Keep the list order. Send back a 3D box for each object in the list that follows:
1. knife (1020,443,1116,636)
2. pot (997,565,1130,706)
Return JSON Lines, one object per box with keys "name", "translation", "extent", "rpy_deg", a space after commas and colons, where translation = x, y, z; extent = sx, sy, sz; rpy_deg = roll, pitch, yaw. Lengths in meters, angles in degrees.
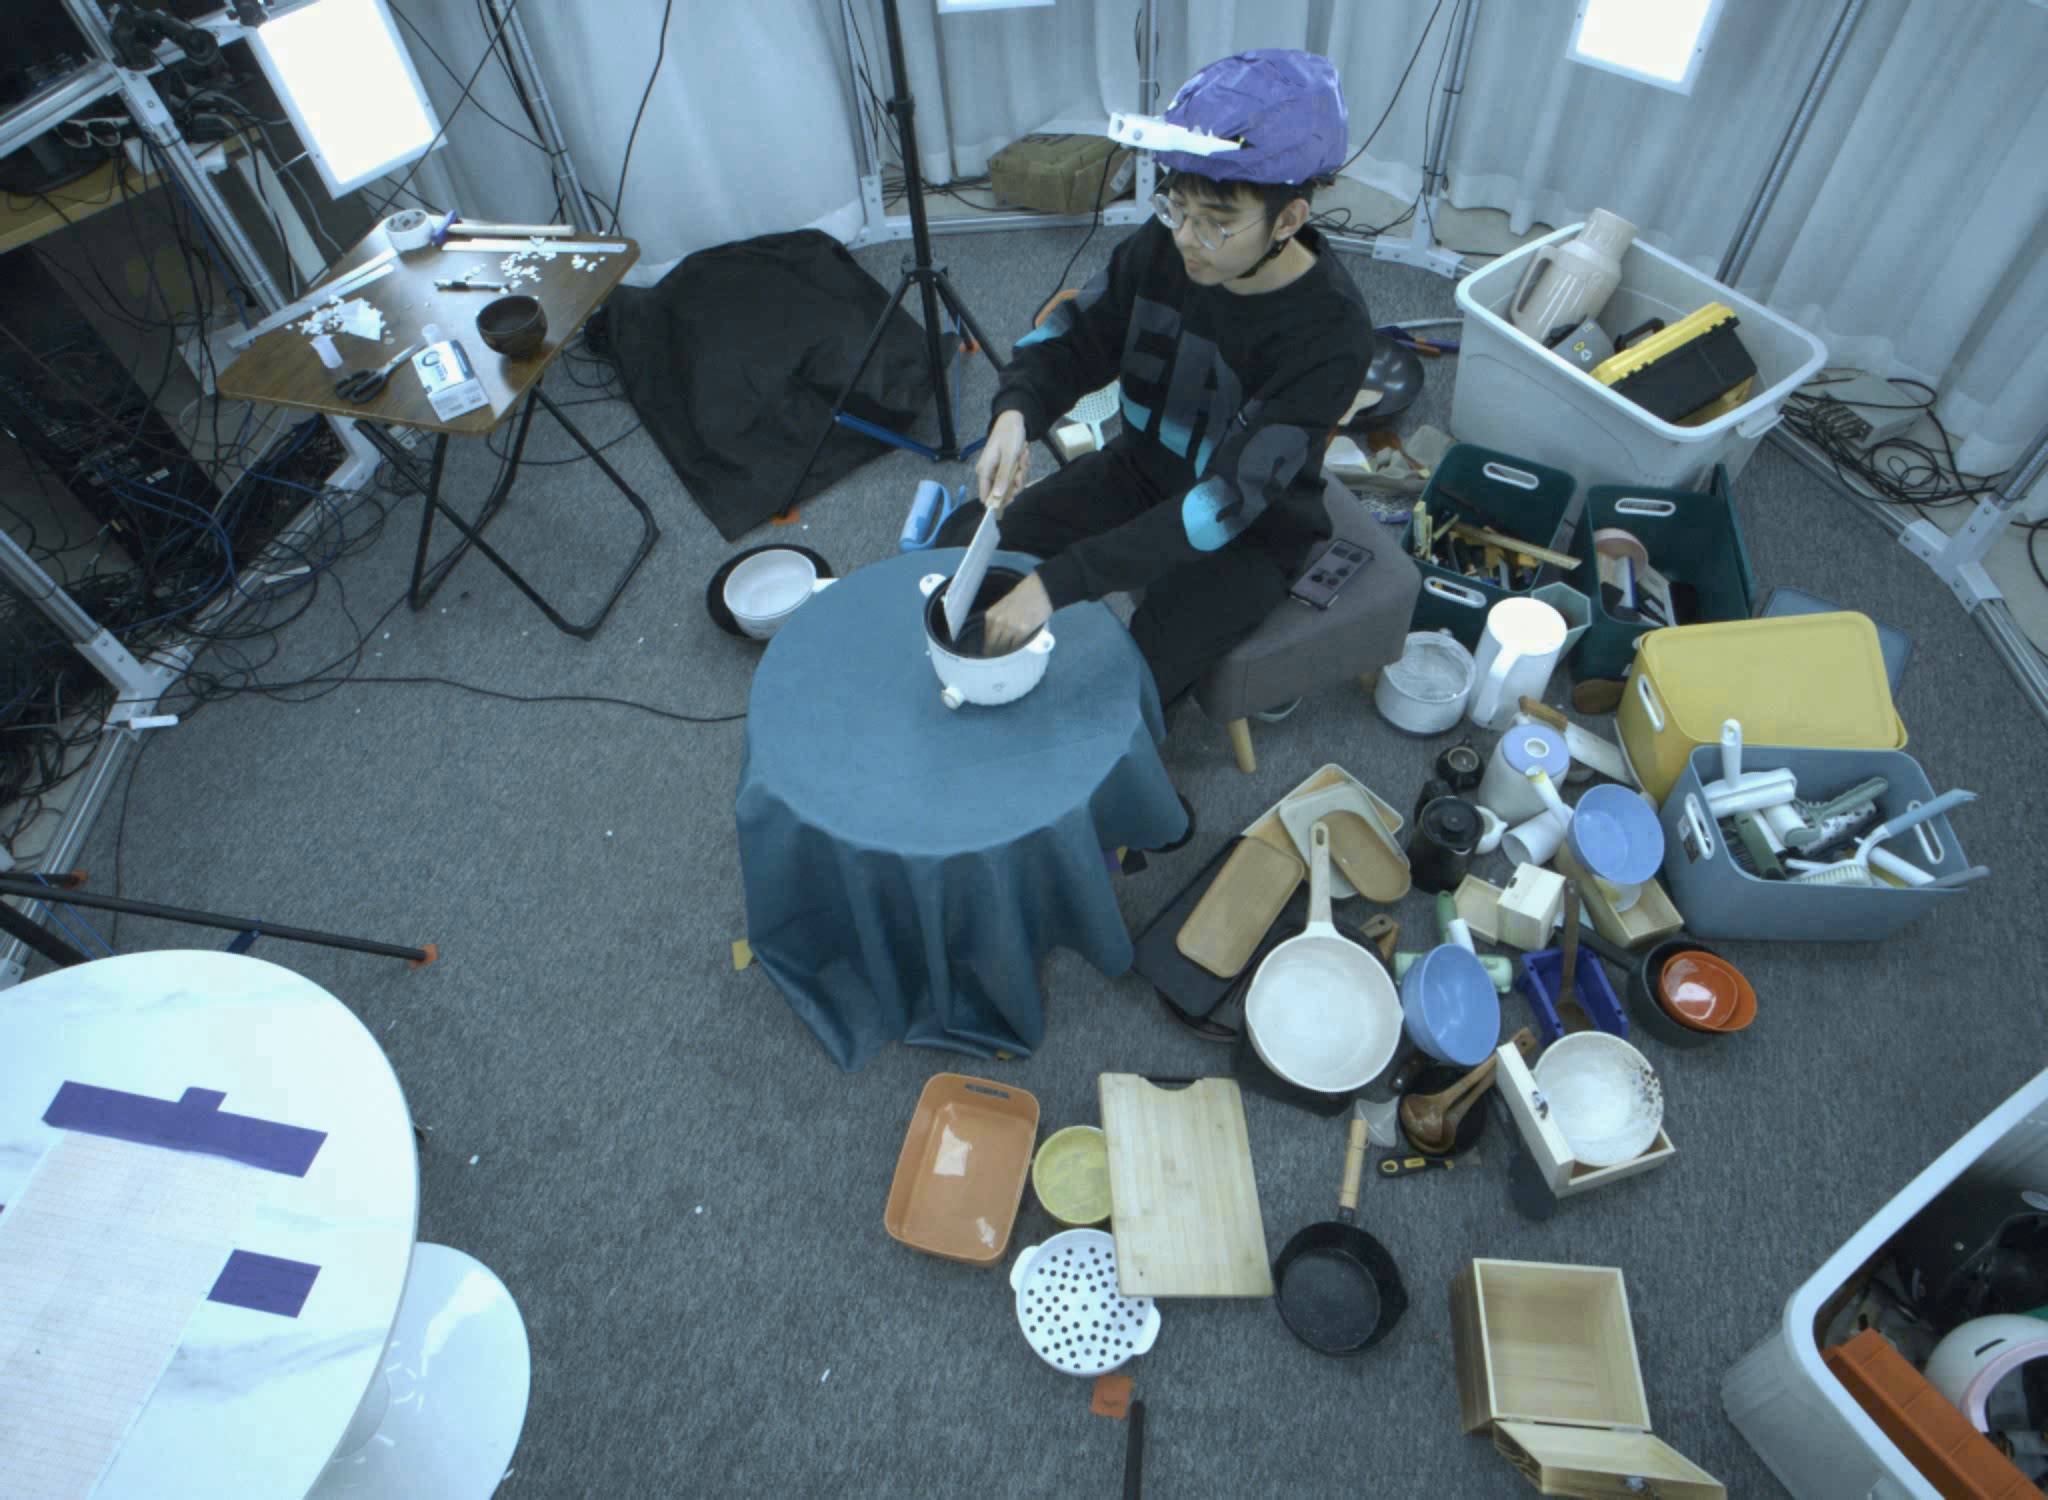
{"name": "knife", "translation": [0.060, -0.309, 1.744], "extent": [0.021, 0.115, 0.315], "rpy_deg": [20, 72, 16]}
{"name": "pot", "translation": [0.055, -0.158, 1.810], "extent": [0.236, 0.144, 0.192], "rpy_deg": [34, 60, 25]}
